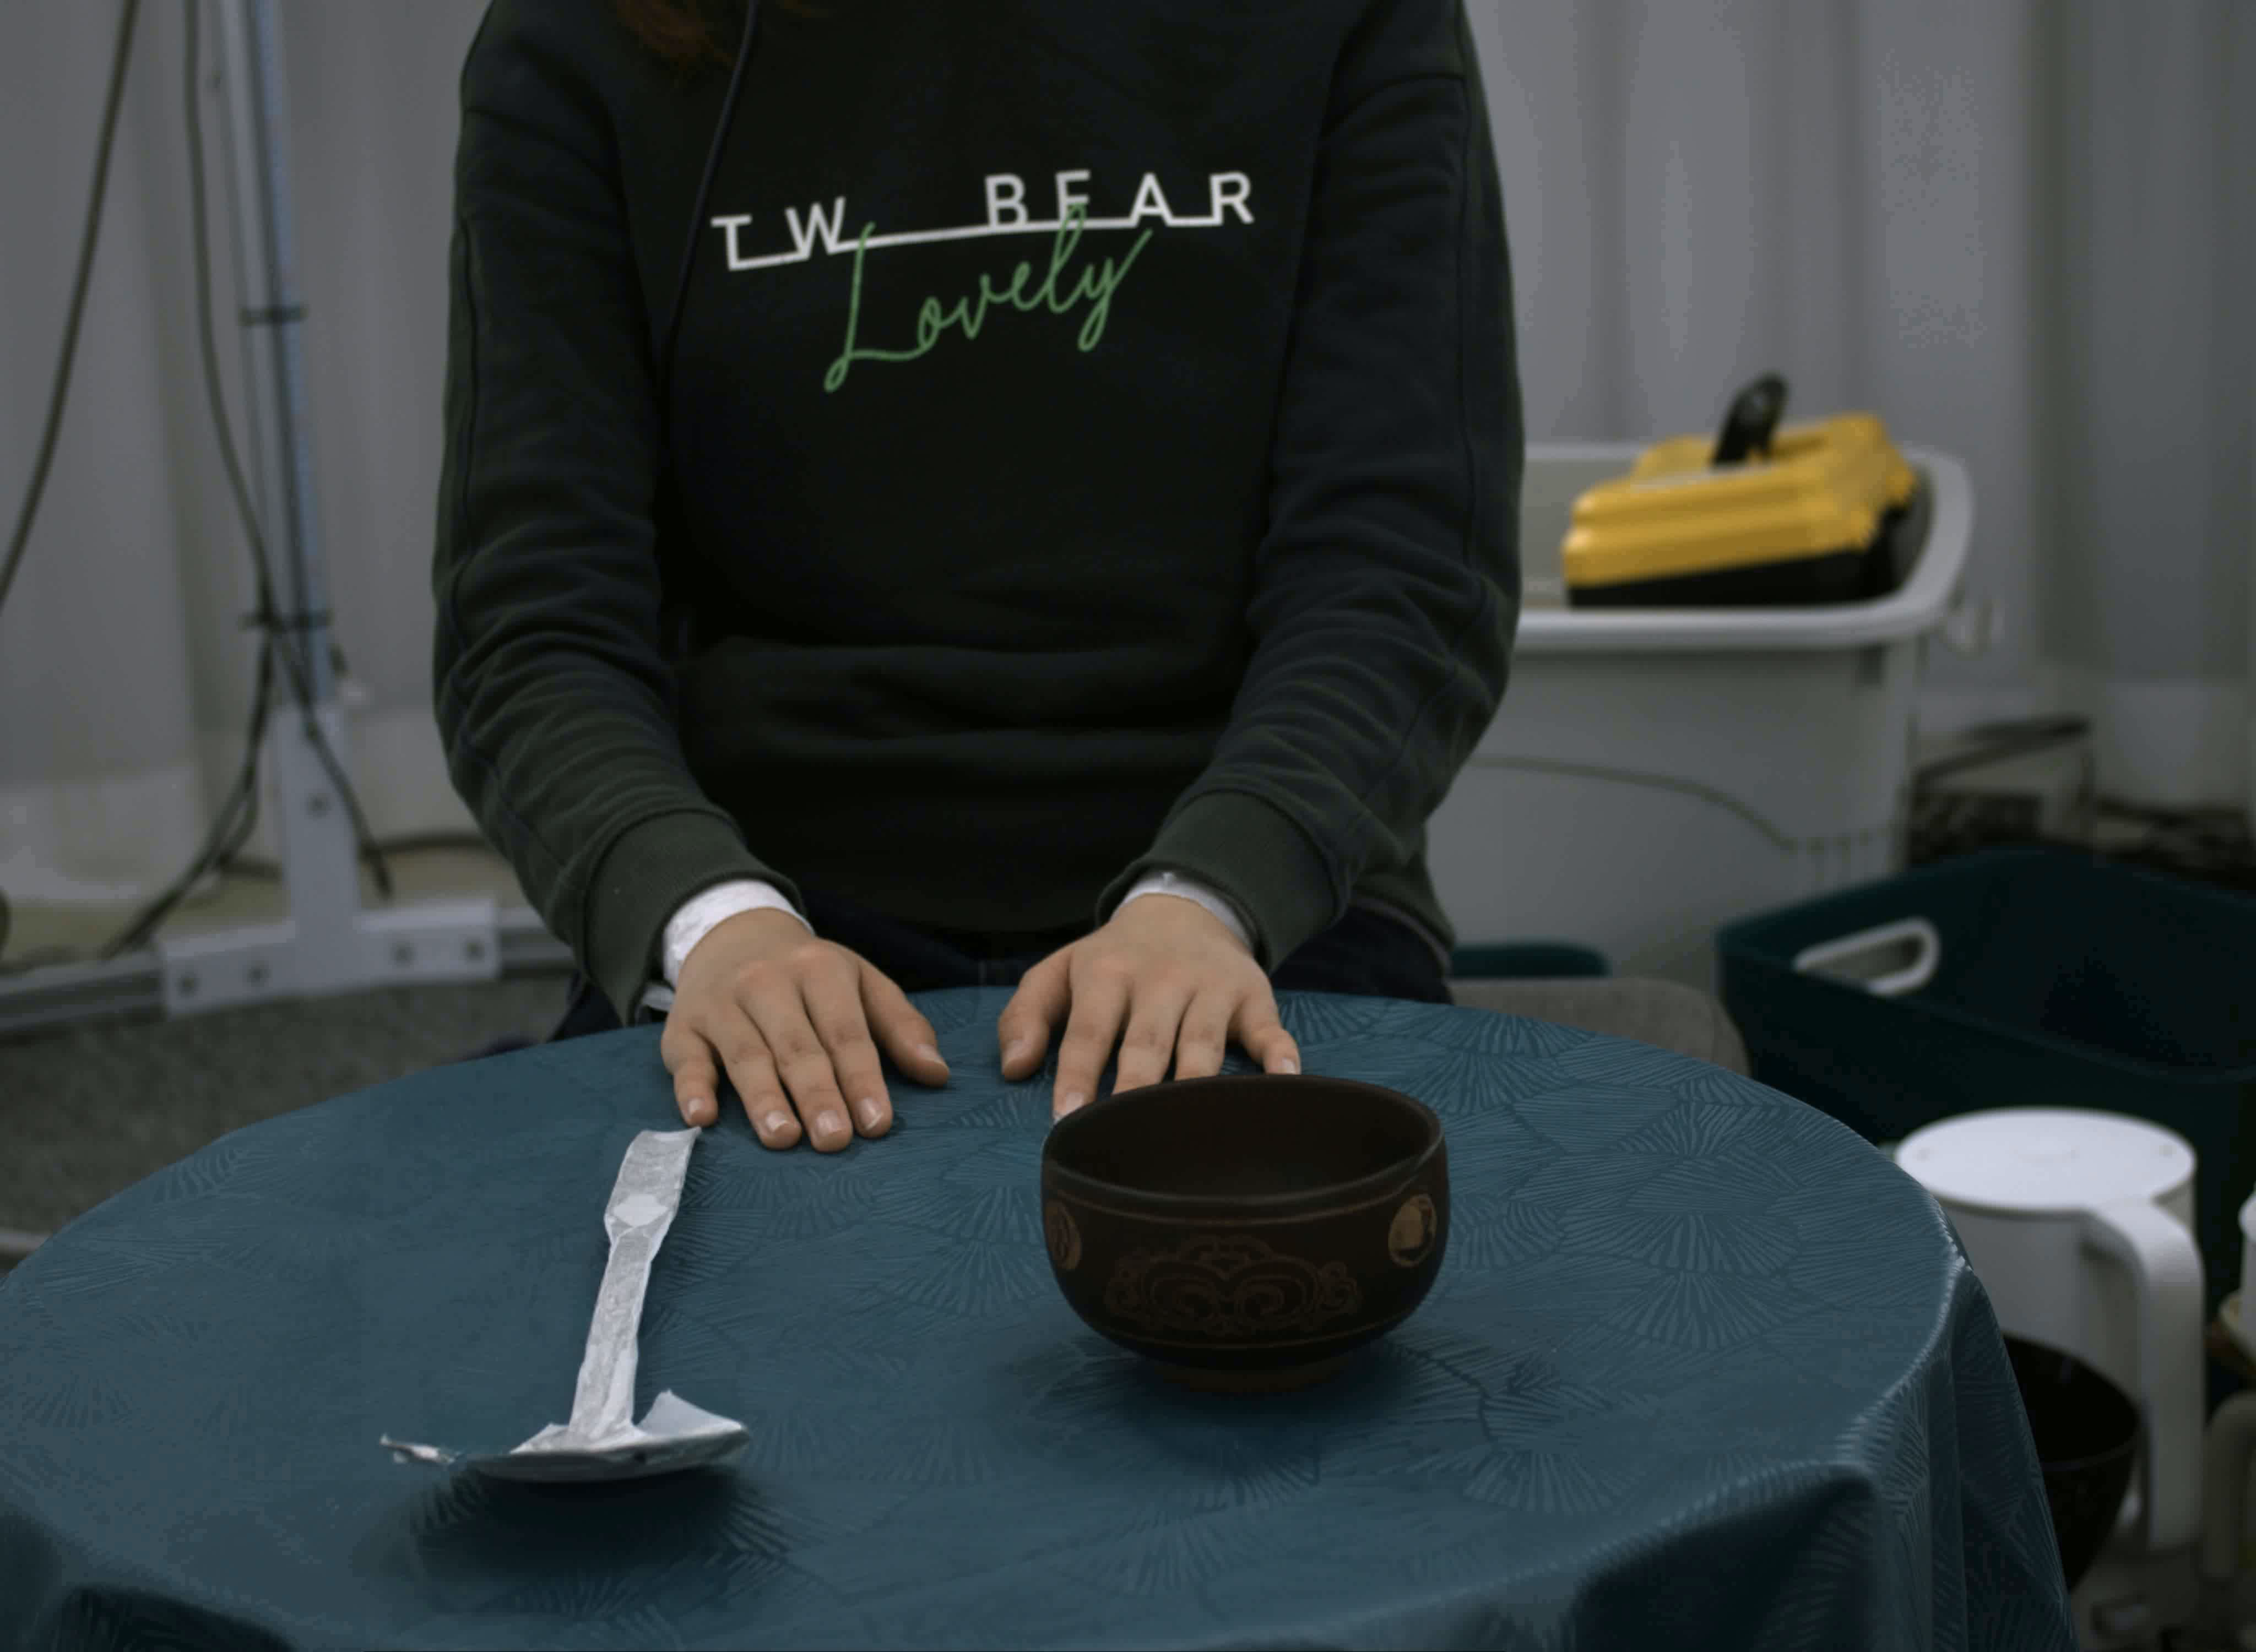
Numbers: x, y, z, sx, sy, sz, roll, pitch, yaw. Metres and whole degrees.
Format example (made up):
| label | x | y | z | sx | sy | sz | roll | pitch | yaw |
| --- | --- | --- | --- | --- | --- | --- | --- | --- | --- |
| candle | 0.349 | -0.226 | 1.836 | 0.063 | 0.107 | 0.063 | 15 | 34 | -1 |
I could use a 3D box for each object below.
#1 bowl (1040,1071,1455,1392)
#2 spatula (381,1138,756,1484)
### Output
| label | x | y | z | sx | sy | sz | roll | pitch | yaw |
| --- | --- | --- | --- | --- | --- | --- | --- | --- | --- |
| bowl | 0.034 | 0.119 | 1.554 | 0.117 | 0.069 | 0.119 | -1 | 14 | 0 |
| spatula | -0.144 | 0.133 | 1.599 | 0.098 | 0.044 | 0.367 | -4 | 15 | 2 |
